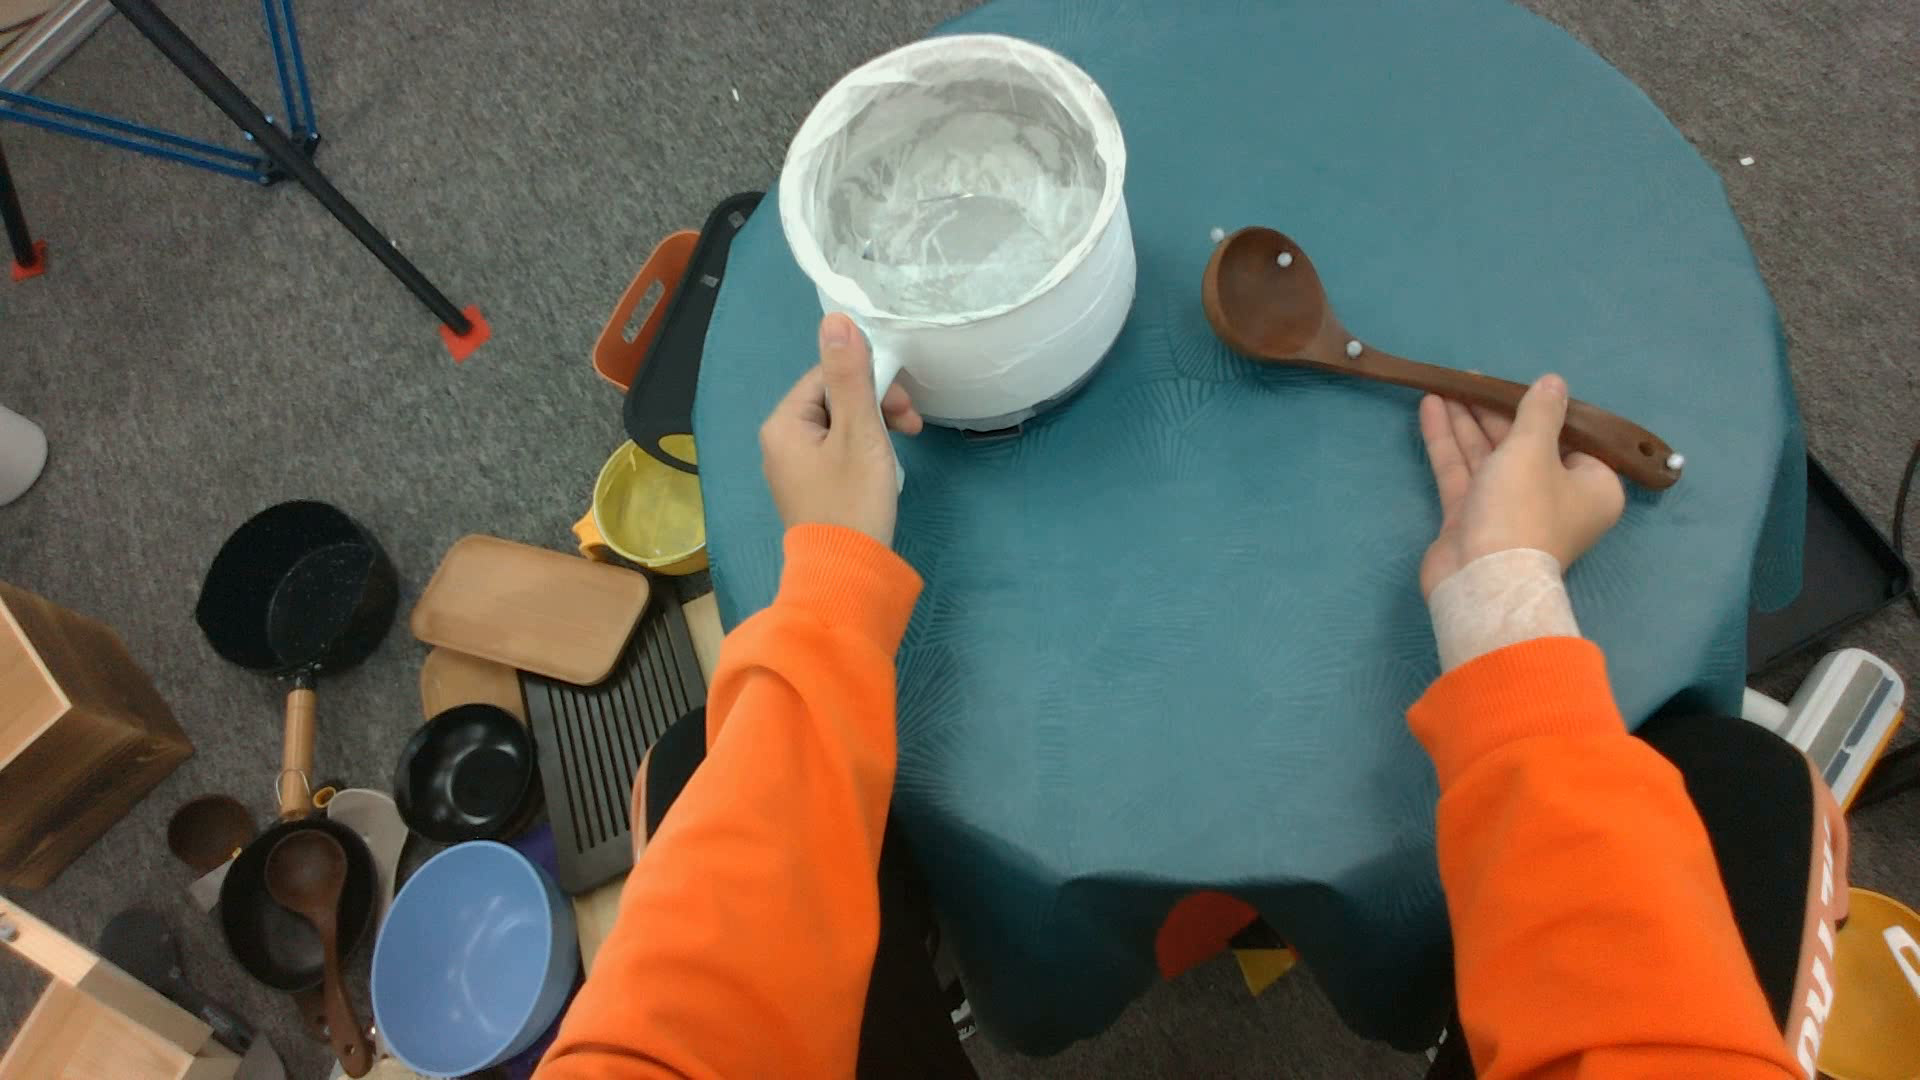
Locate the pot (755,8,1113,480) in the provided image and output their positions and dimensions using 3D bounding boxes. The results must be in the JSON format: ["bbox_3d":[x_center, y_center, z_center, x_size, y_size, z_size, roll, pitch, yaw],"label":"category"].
[{"bbox_3d":[-0.019,-0.150,0.740,0.178,0.136,0.234,21,73,17],"label":"pot"}]

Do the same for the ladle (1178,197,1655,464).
[{"bbox_3d":[0.236,-0.108,0.718,0.260,0.065,0.077,26,71,20],"label":"ladle"}]
